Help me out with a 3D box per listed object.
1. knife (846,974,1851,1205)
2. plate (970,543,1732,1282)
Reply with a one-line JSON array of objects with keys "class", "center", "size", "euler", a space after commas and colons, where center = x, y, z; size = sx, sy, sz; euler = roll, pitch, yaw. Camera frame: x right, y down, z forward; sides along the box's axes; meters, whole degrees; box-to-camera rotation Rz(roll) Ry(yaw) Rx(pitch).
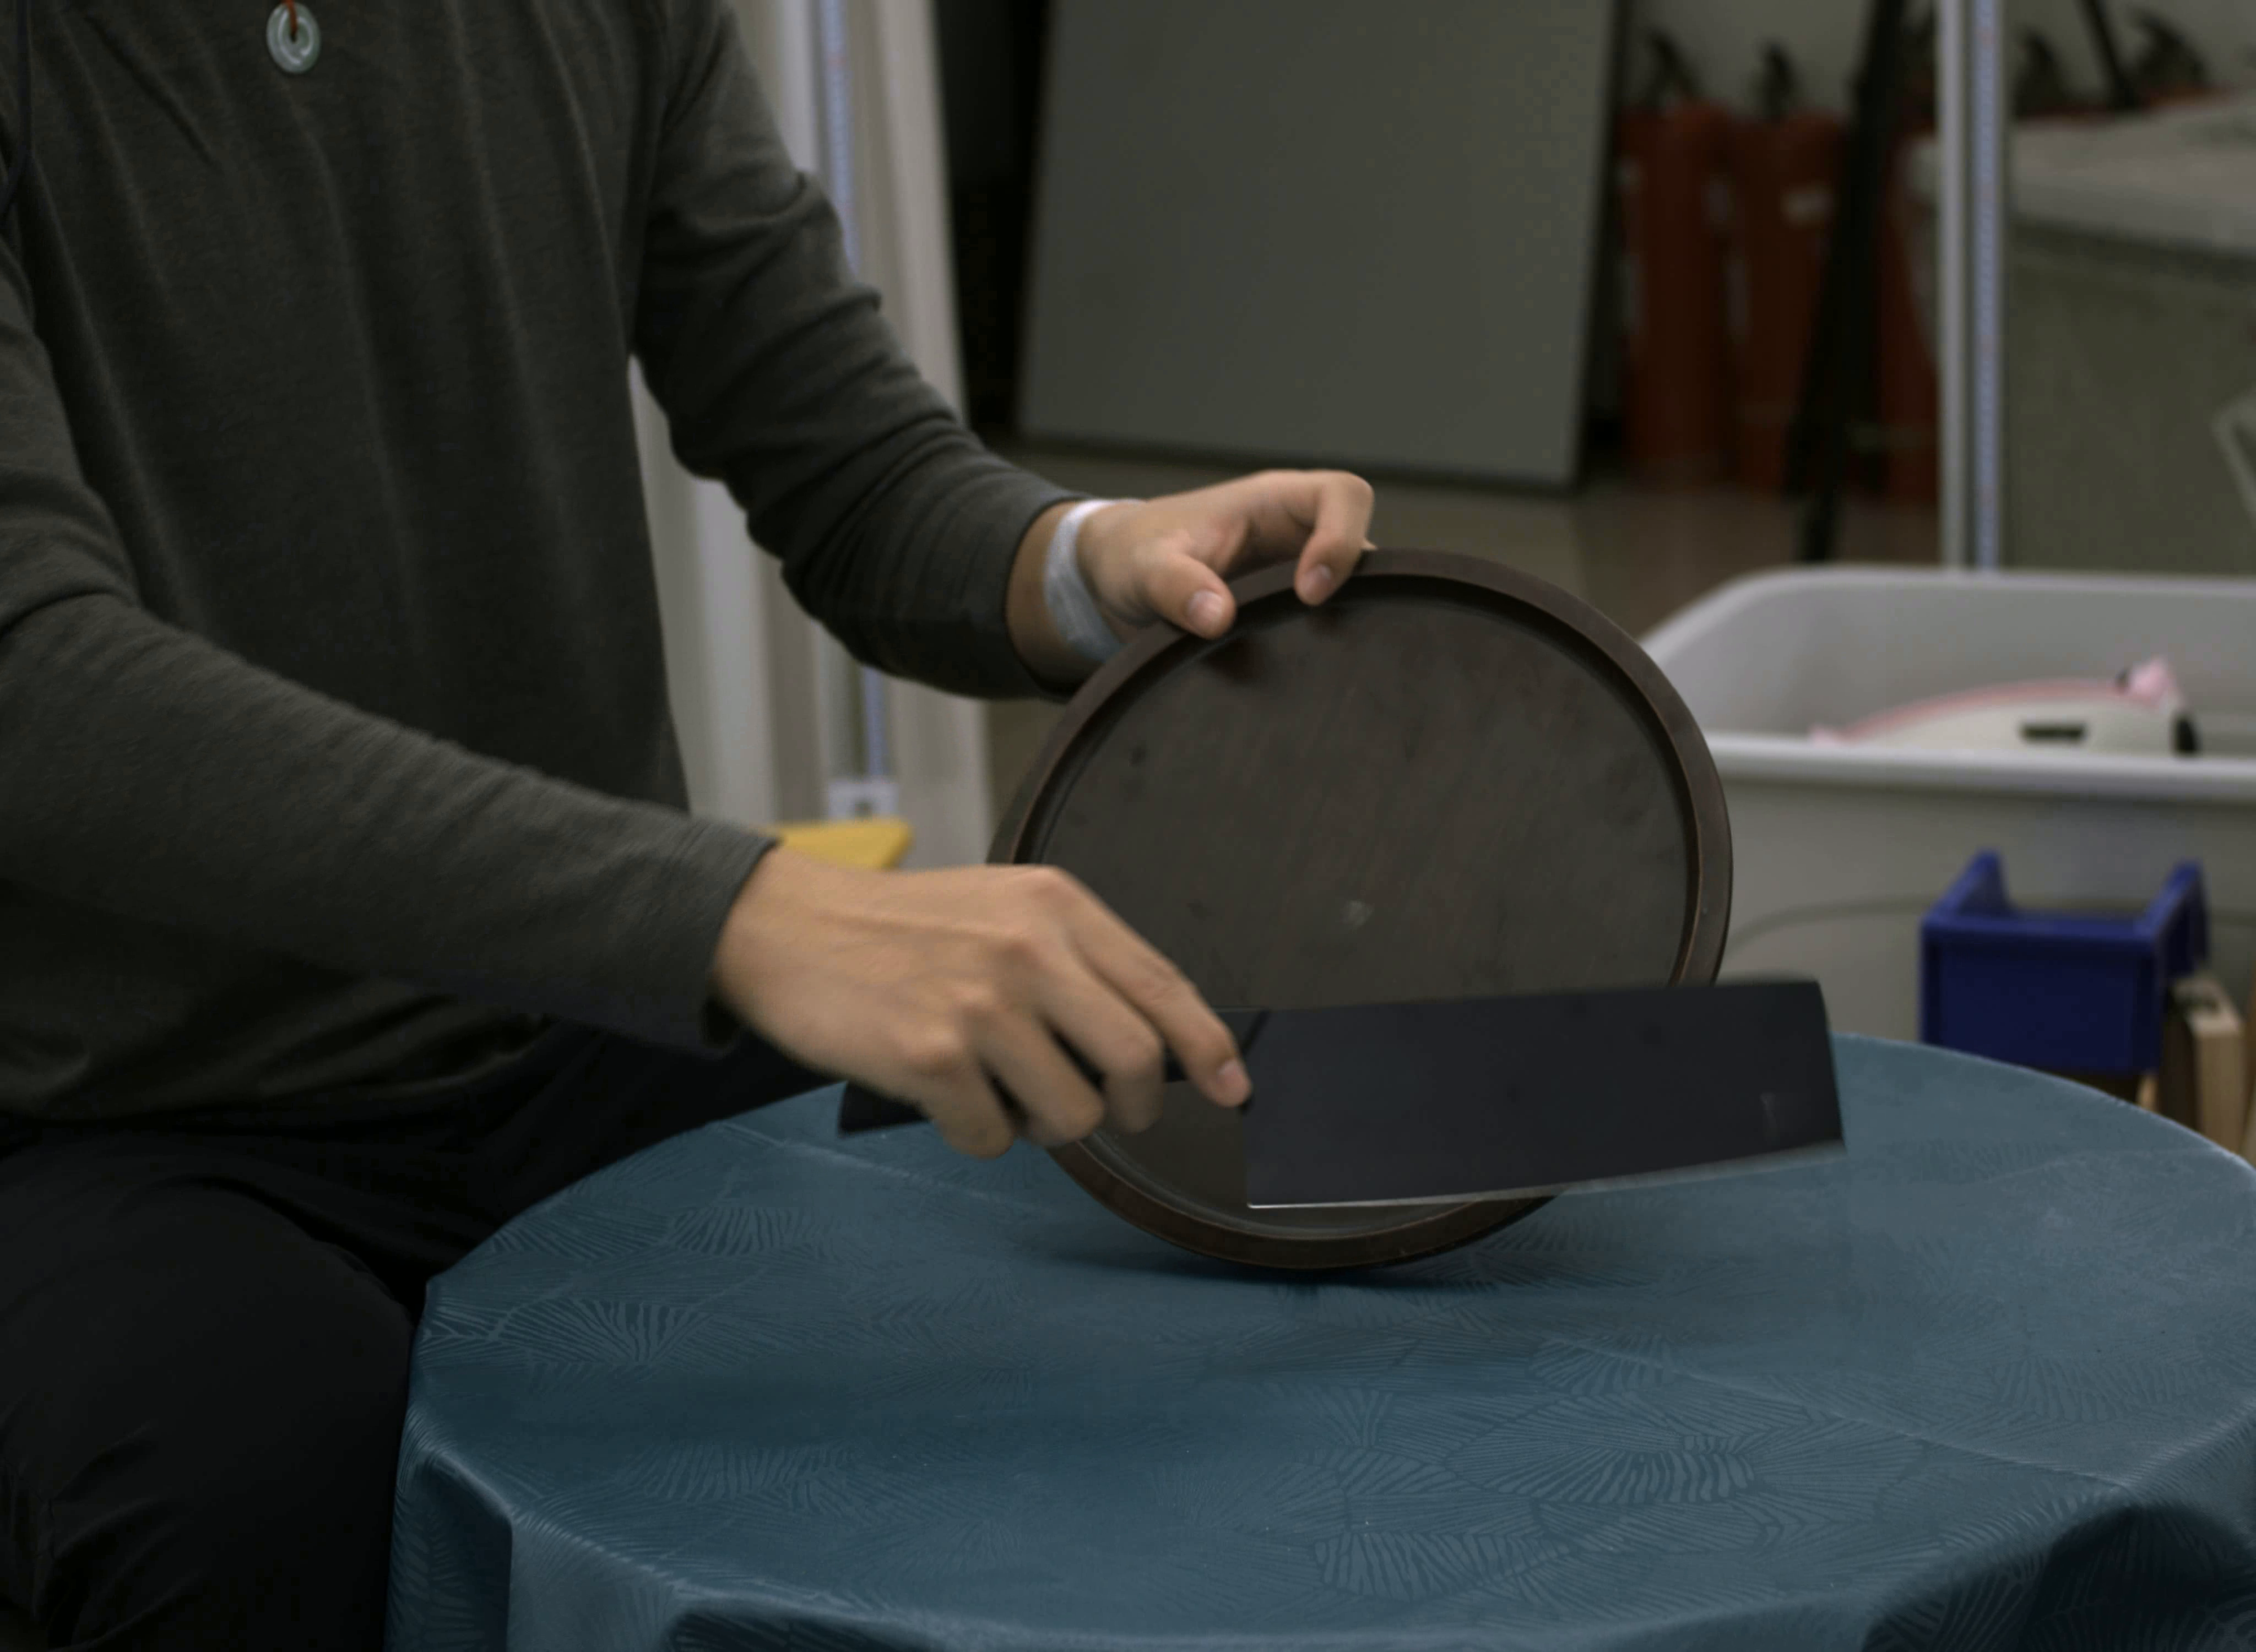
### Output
[{"class": "knife", "center": [0.065, 0.078, 1.605], "size": [0.299, 0.082, 0.021], "euler": [1, -31, 4]}, {"class": "plate", "center": [0.070, 0.027, 1.725], "size": [0.254, 0.257, 0.029], "euler": [1, -22, 20]}]
